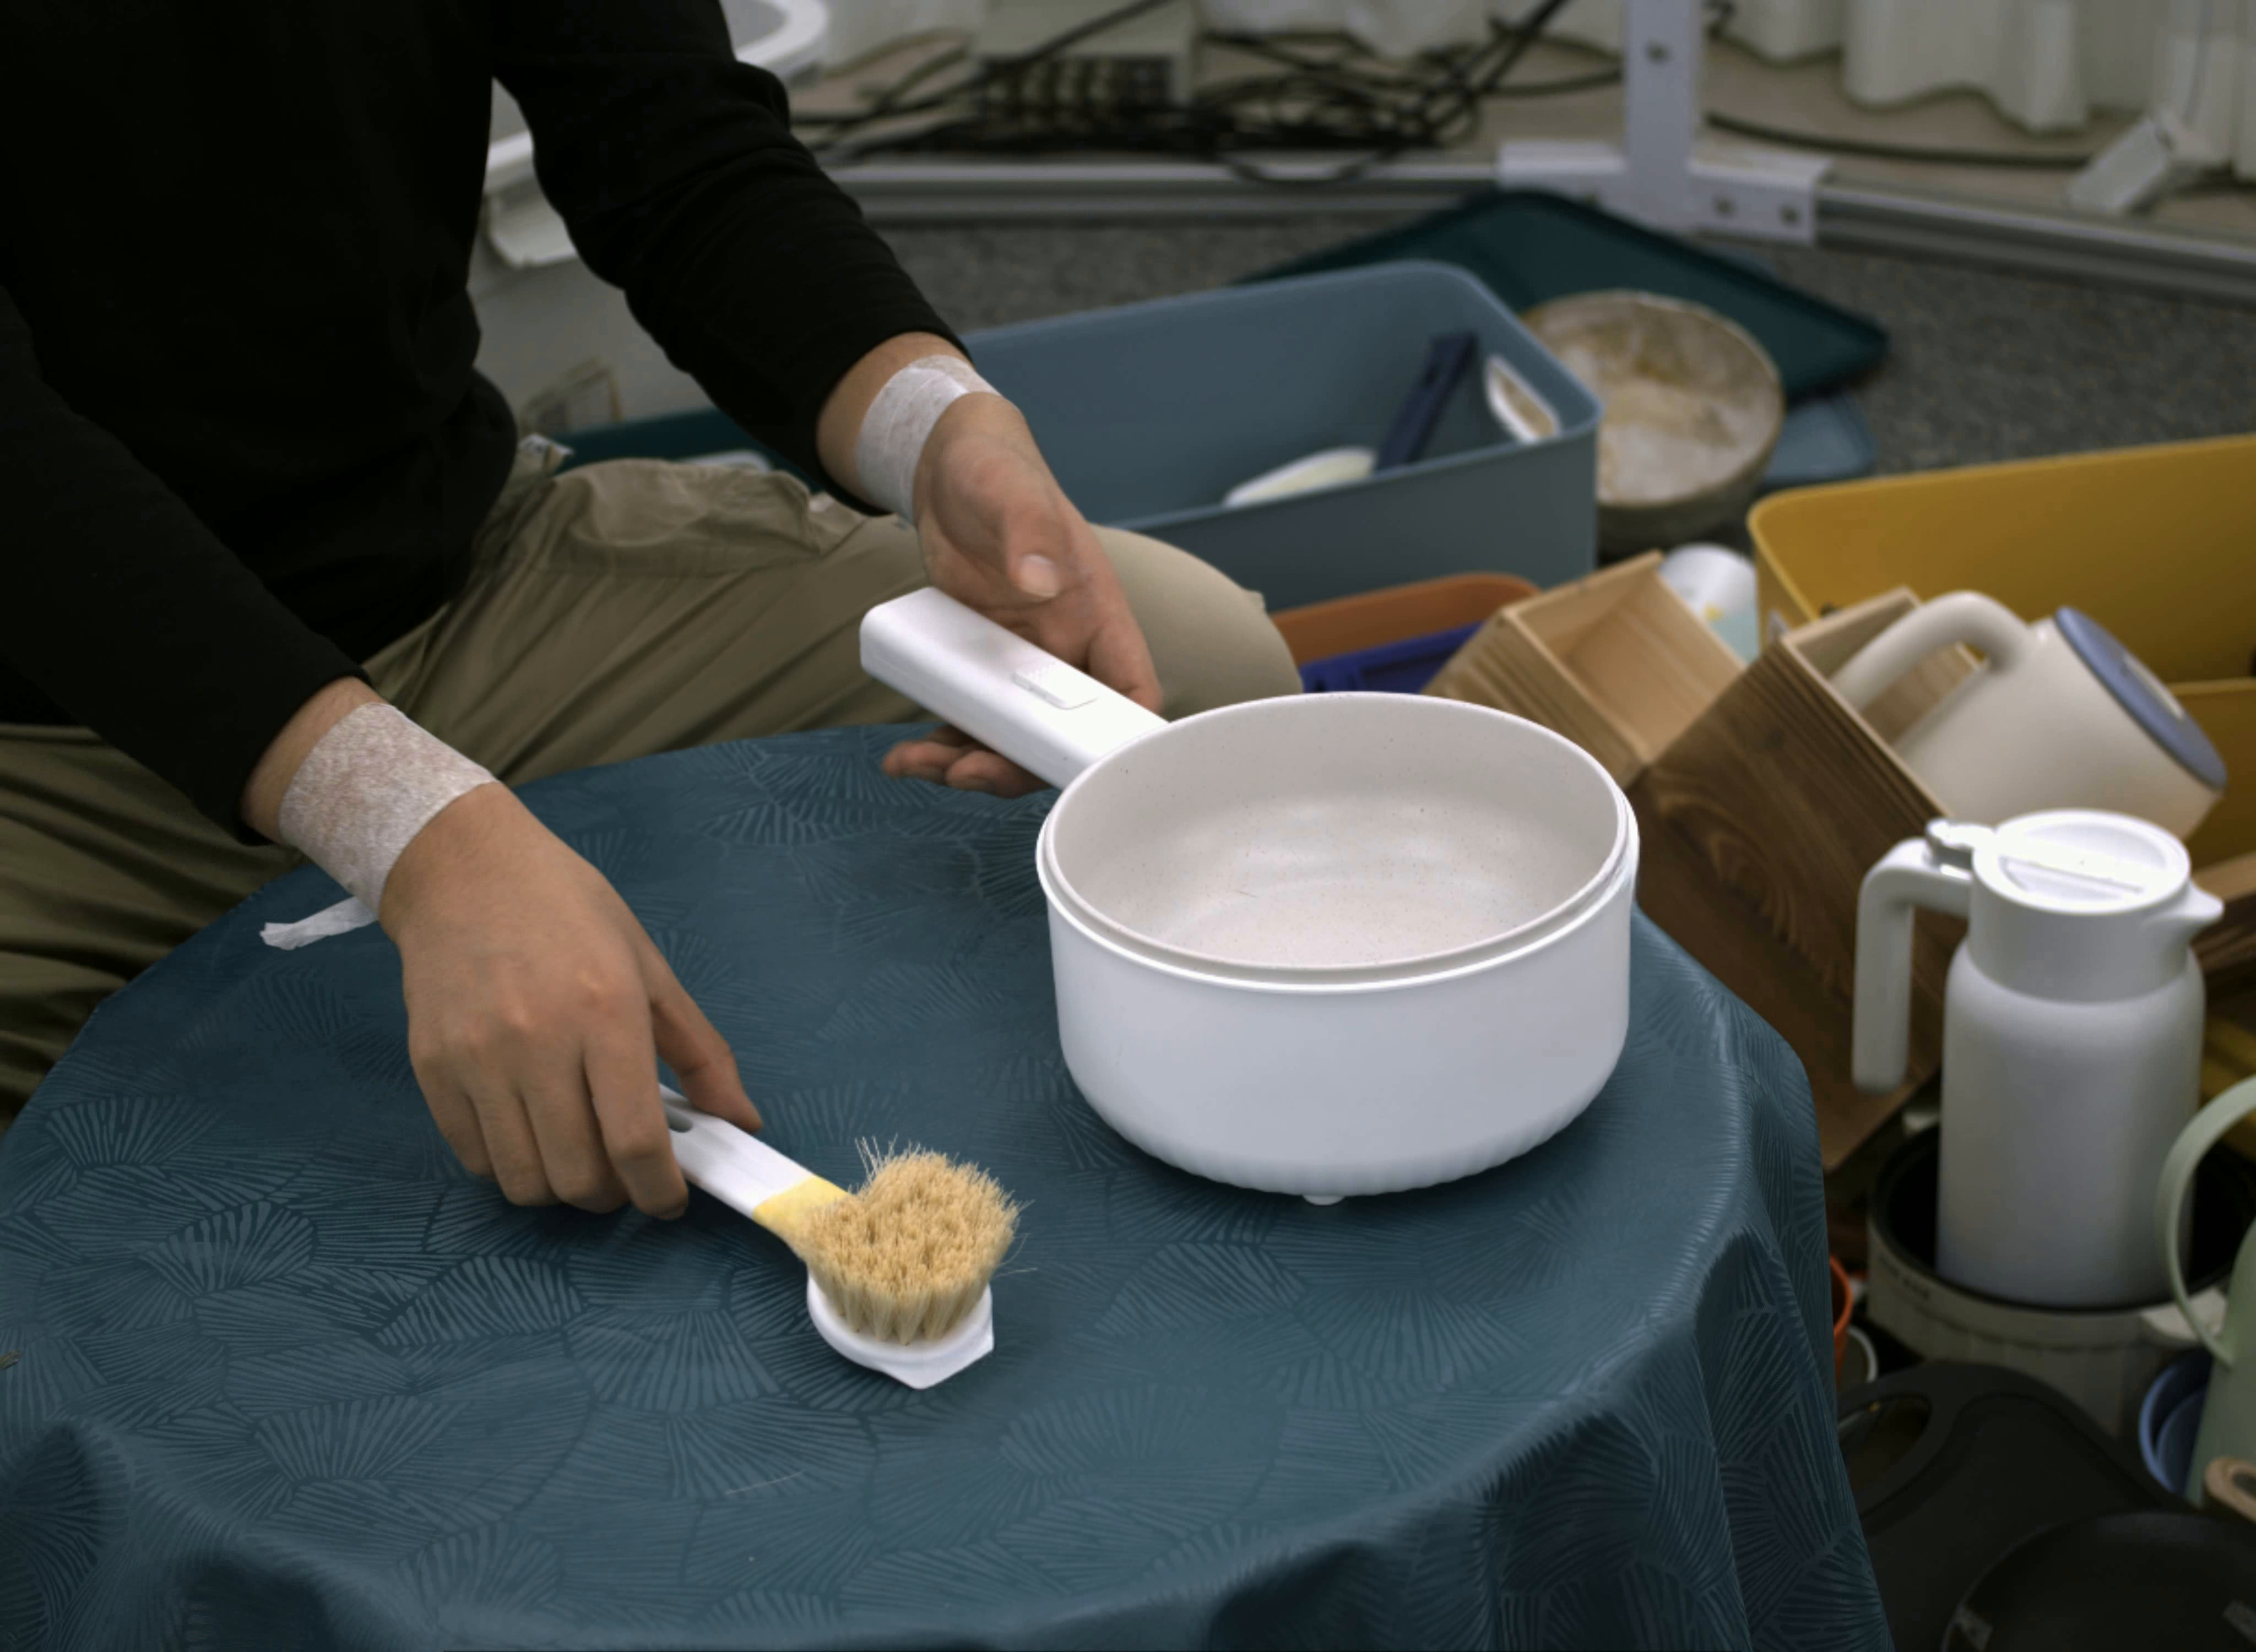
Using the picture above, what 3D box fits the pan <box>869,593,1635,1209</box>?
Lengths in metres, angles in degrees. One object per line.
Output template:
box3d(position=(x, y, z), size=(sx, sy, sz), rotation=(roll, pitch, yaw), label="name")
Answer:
box3d(position=(0.026, 0.019, 1.953), size=(0.203, 0.101, 0.355), rotation=(-22, 32, -31), label="pan")

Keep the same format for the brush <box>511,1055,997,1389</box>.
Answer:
box3d(position=(-0.133, 0.107, 1.845), size=(0.069, 0.055, 0.267), rotation=(-14, 28, -31), label="brush")
